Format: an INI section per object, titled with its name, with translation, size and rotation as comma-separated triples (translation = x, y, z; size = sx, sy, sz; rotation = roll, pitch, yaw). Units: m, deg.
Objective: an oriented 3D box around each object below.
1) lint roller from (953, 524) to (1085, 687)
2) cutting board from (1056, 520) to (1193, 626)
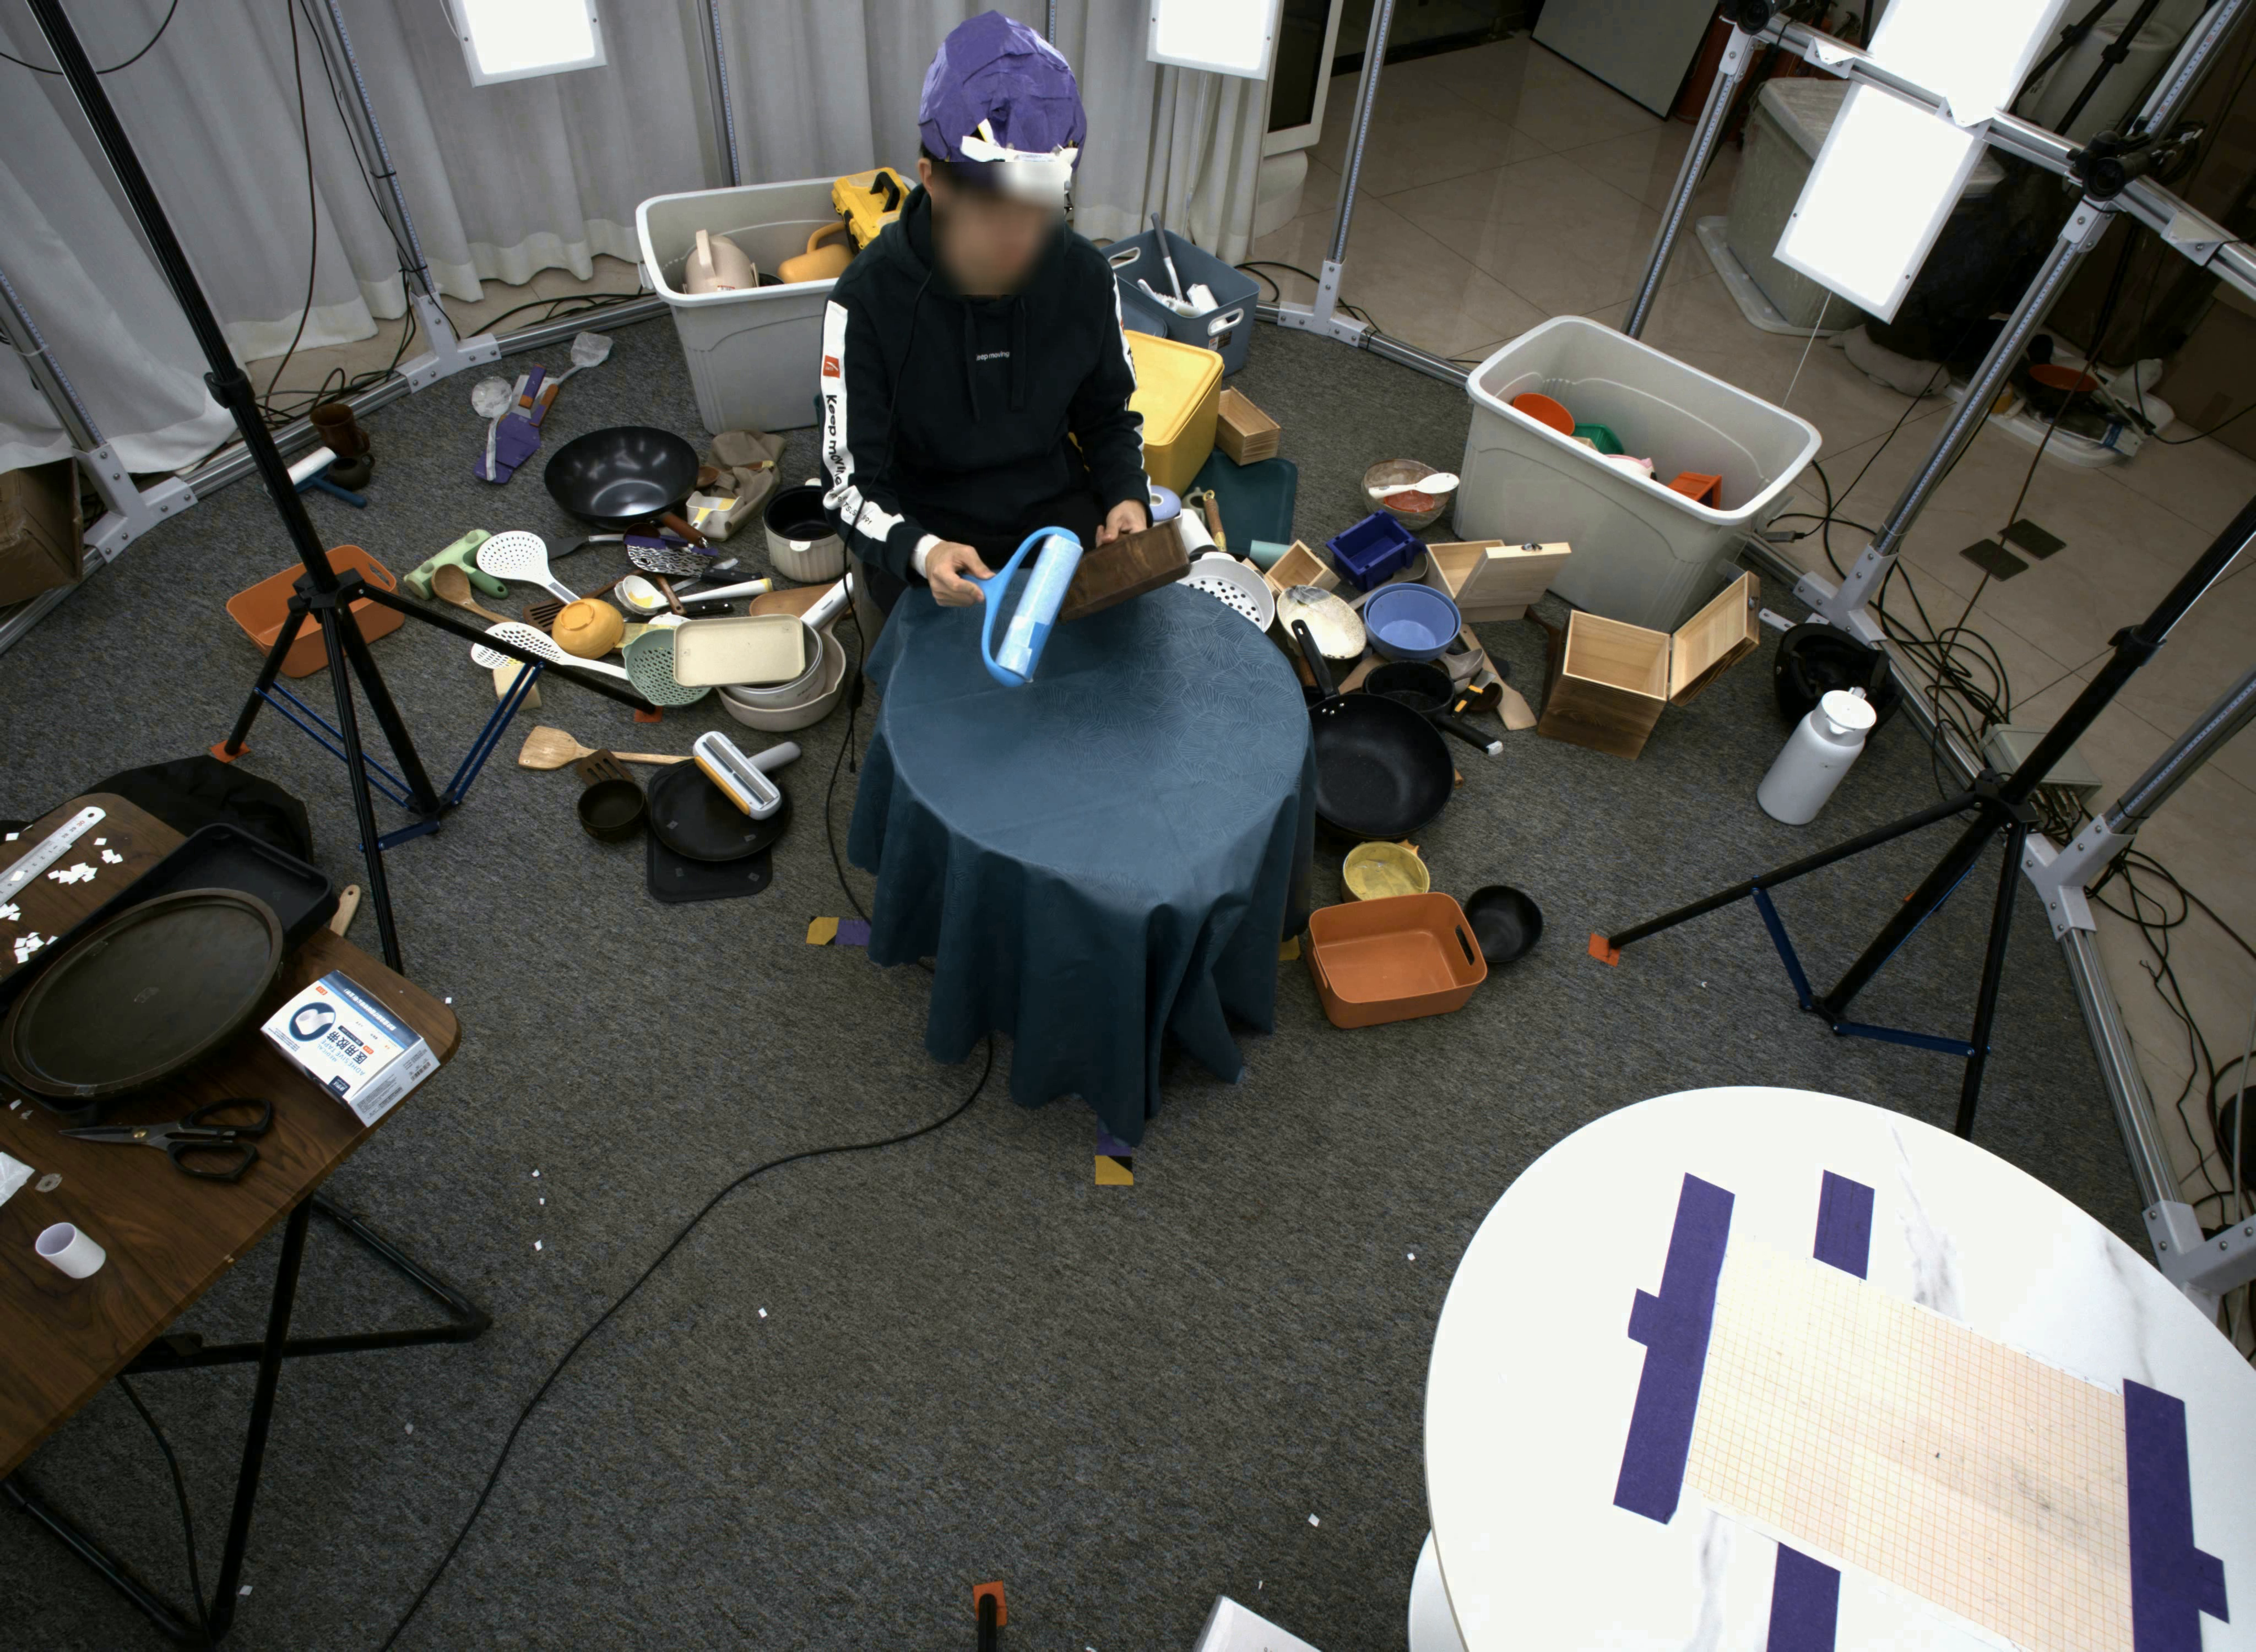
[lint roller]
translation = -0.171, -0.311, 1.748
size = 0.181, 0.067, 0.230
rotation = 17, 84, 20
[cutting board]
translation = -0.015, -0.389, 1.890
size = 0.201, 0.023, 0.359
rotation = -22, 25, 7
